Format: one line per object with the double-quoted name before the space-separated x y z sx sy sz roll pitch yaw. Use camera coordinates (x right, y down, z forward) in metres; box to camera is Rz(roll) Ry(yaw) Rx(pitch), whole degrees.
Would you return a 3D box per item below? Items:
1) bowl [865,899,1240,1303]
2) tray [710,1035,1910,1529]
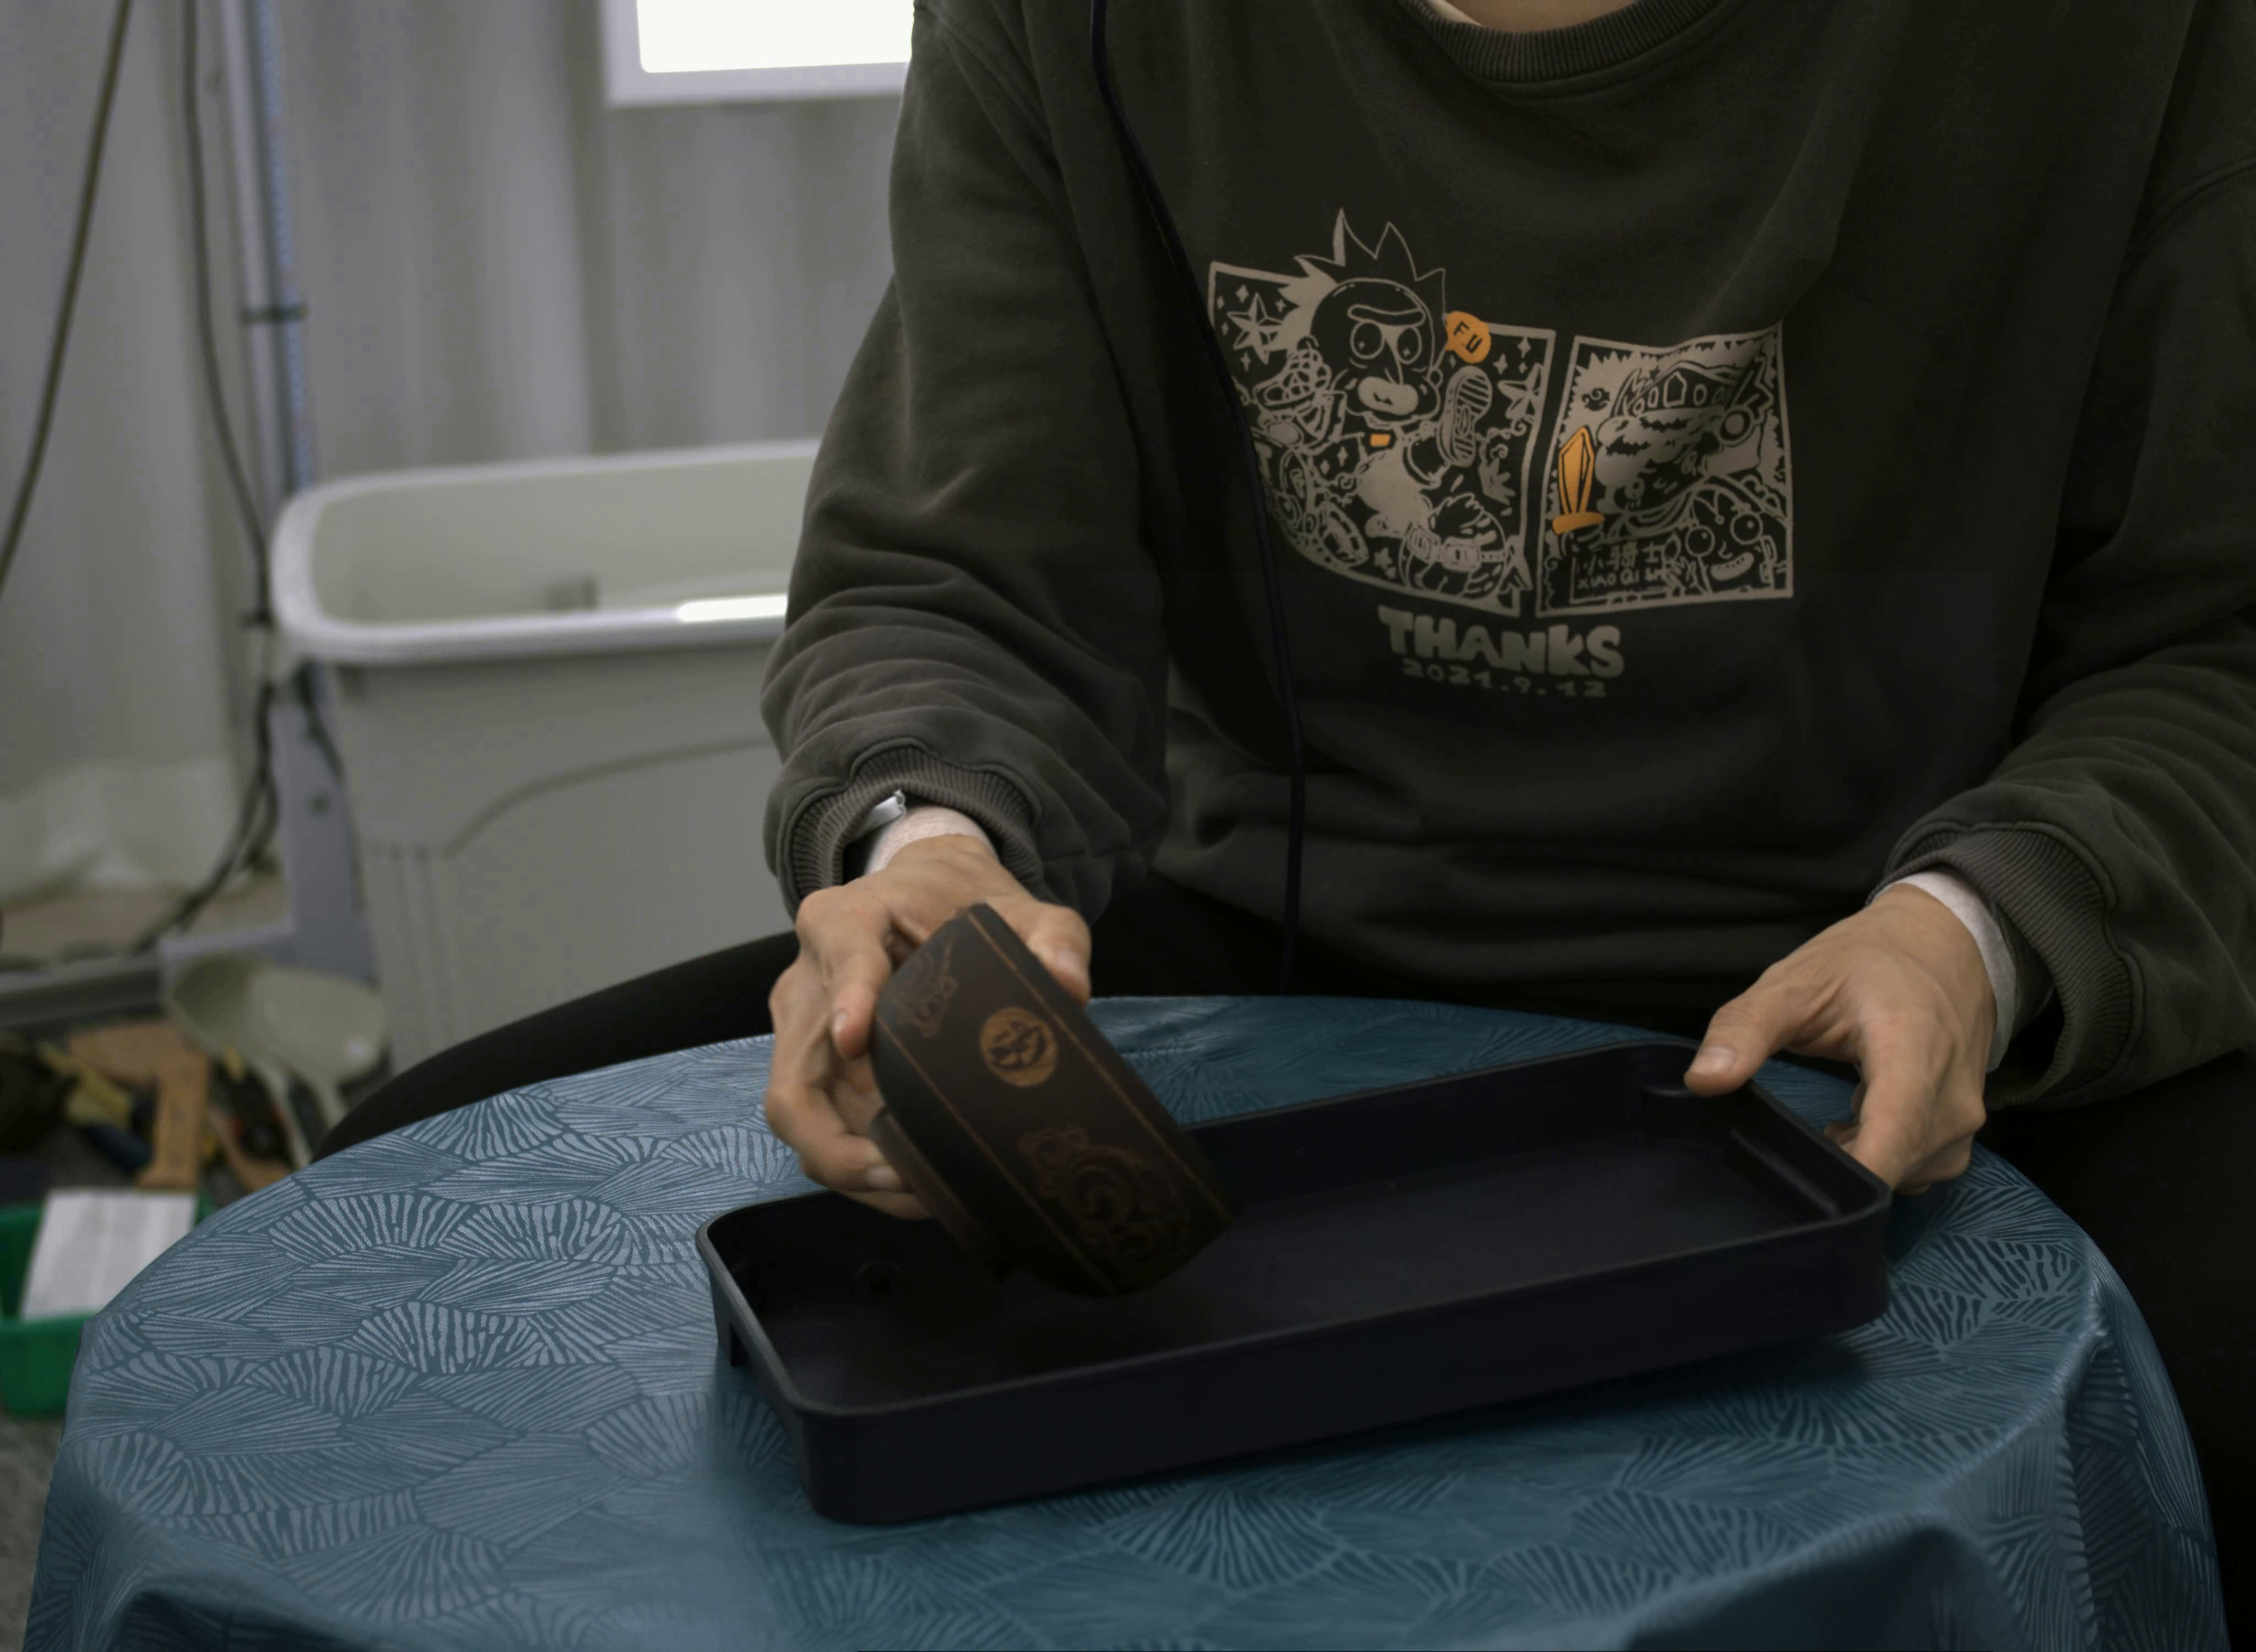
"bowl" -0.030 0.086 1.547 0.070 0.117 0.119 -39 21 -4
"tray" 0.050 0.126 1.571 0.317 0.037 0.186 -11 16 -14
